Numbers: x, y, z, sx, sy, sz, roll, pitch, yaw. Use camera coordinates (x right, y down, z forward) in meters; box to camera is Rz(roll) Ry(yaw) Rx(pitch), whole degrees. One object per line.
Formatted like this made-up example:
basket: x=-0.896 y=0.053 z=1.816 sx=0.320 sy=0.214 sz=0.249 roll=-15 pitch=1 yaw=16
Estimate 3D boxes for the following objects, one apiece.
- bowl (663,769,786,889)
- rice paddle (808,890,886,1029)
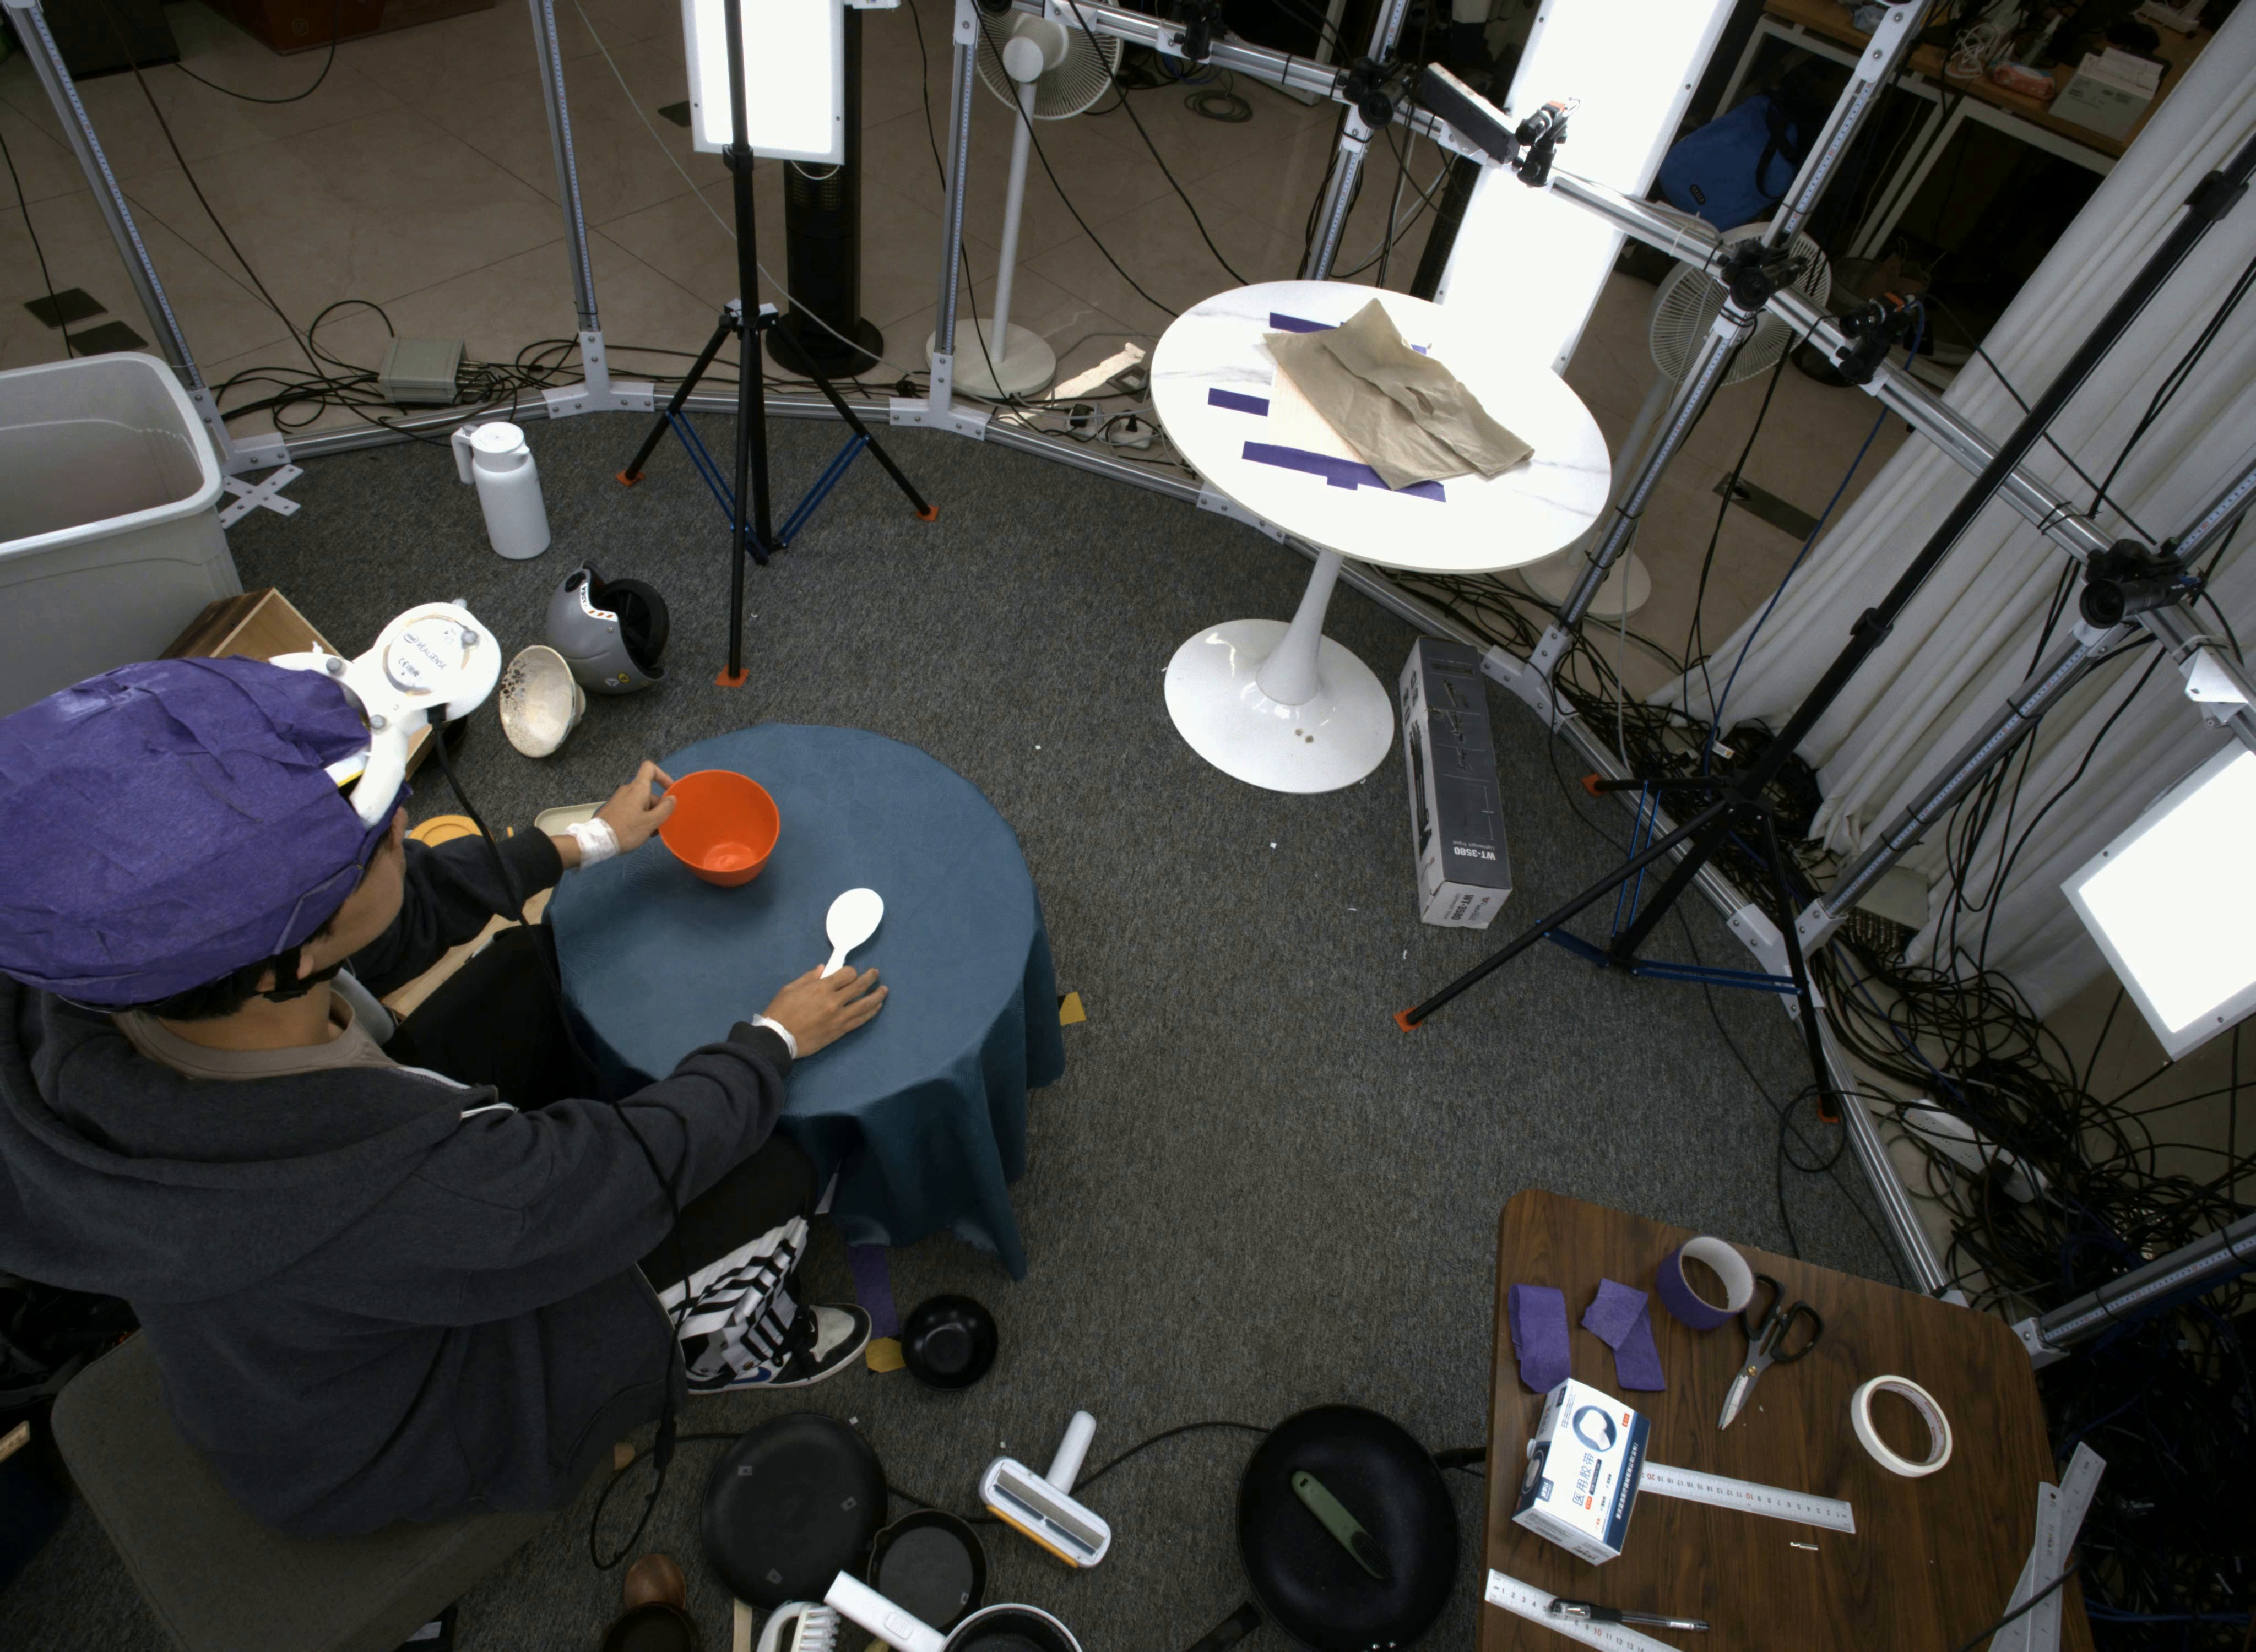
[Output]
bowl: x=-0.507 y=0.015 z=1.632 sx=0.148 sy=0.106 sz=0.145 roll=8 pitch=52 yaw=-9
rice paddle: x=-0.352 y=0.155 z=1.611 sx=0.068 sy=0.030 sz=0.202 roll=9 pitch=51 yaw=3
